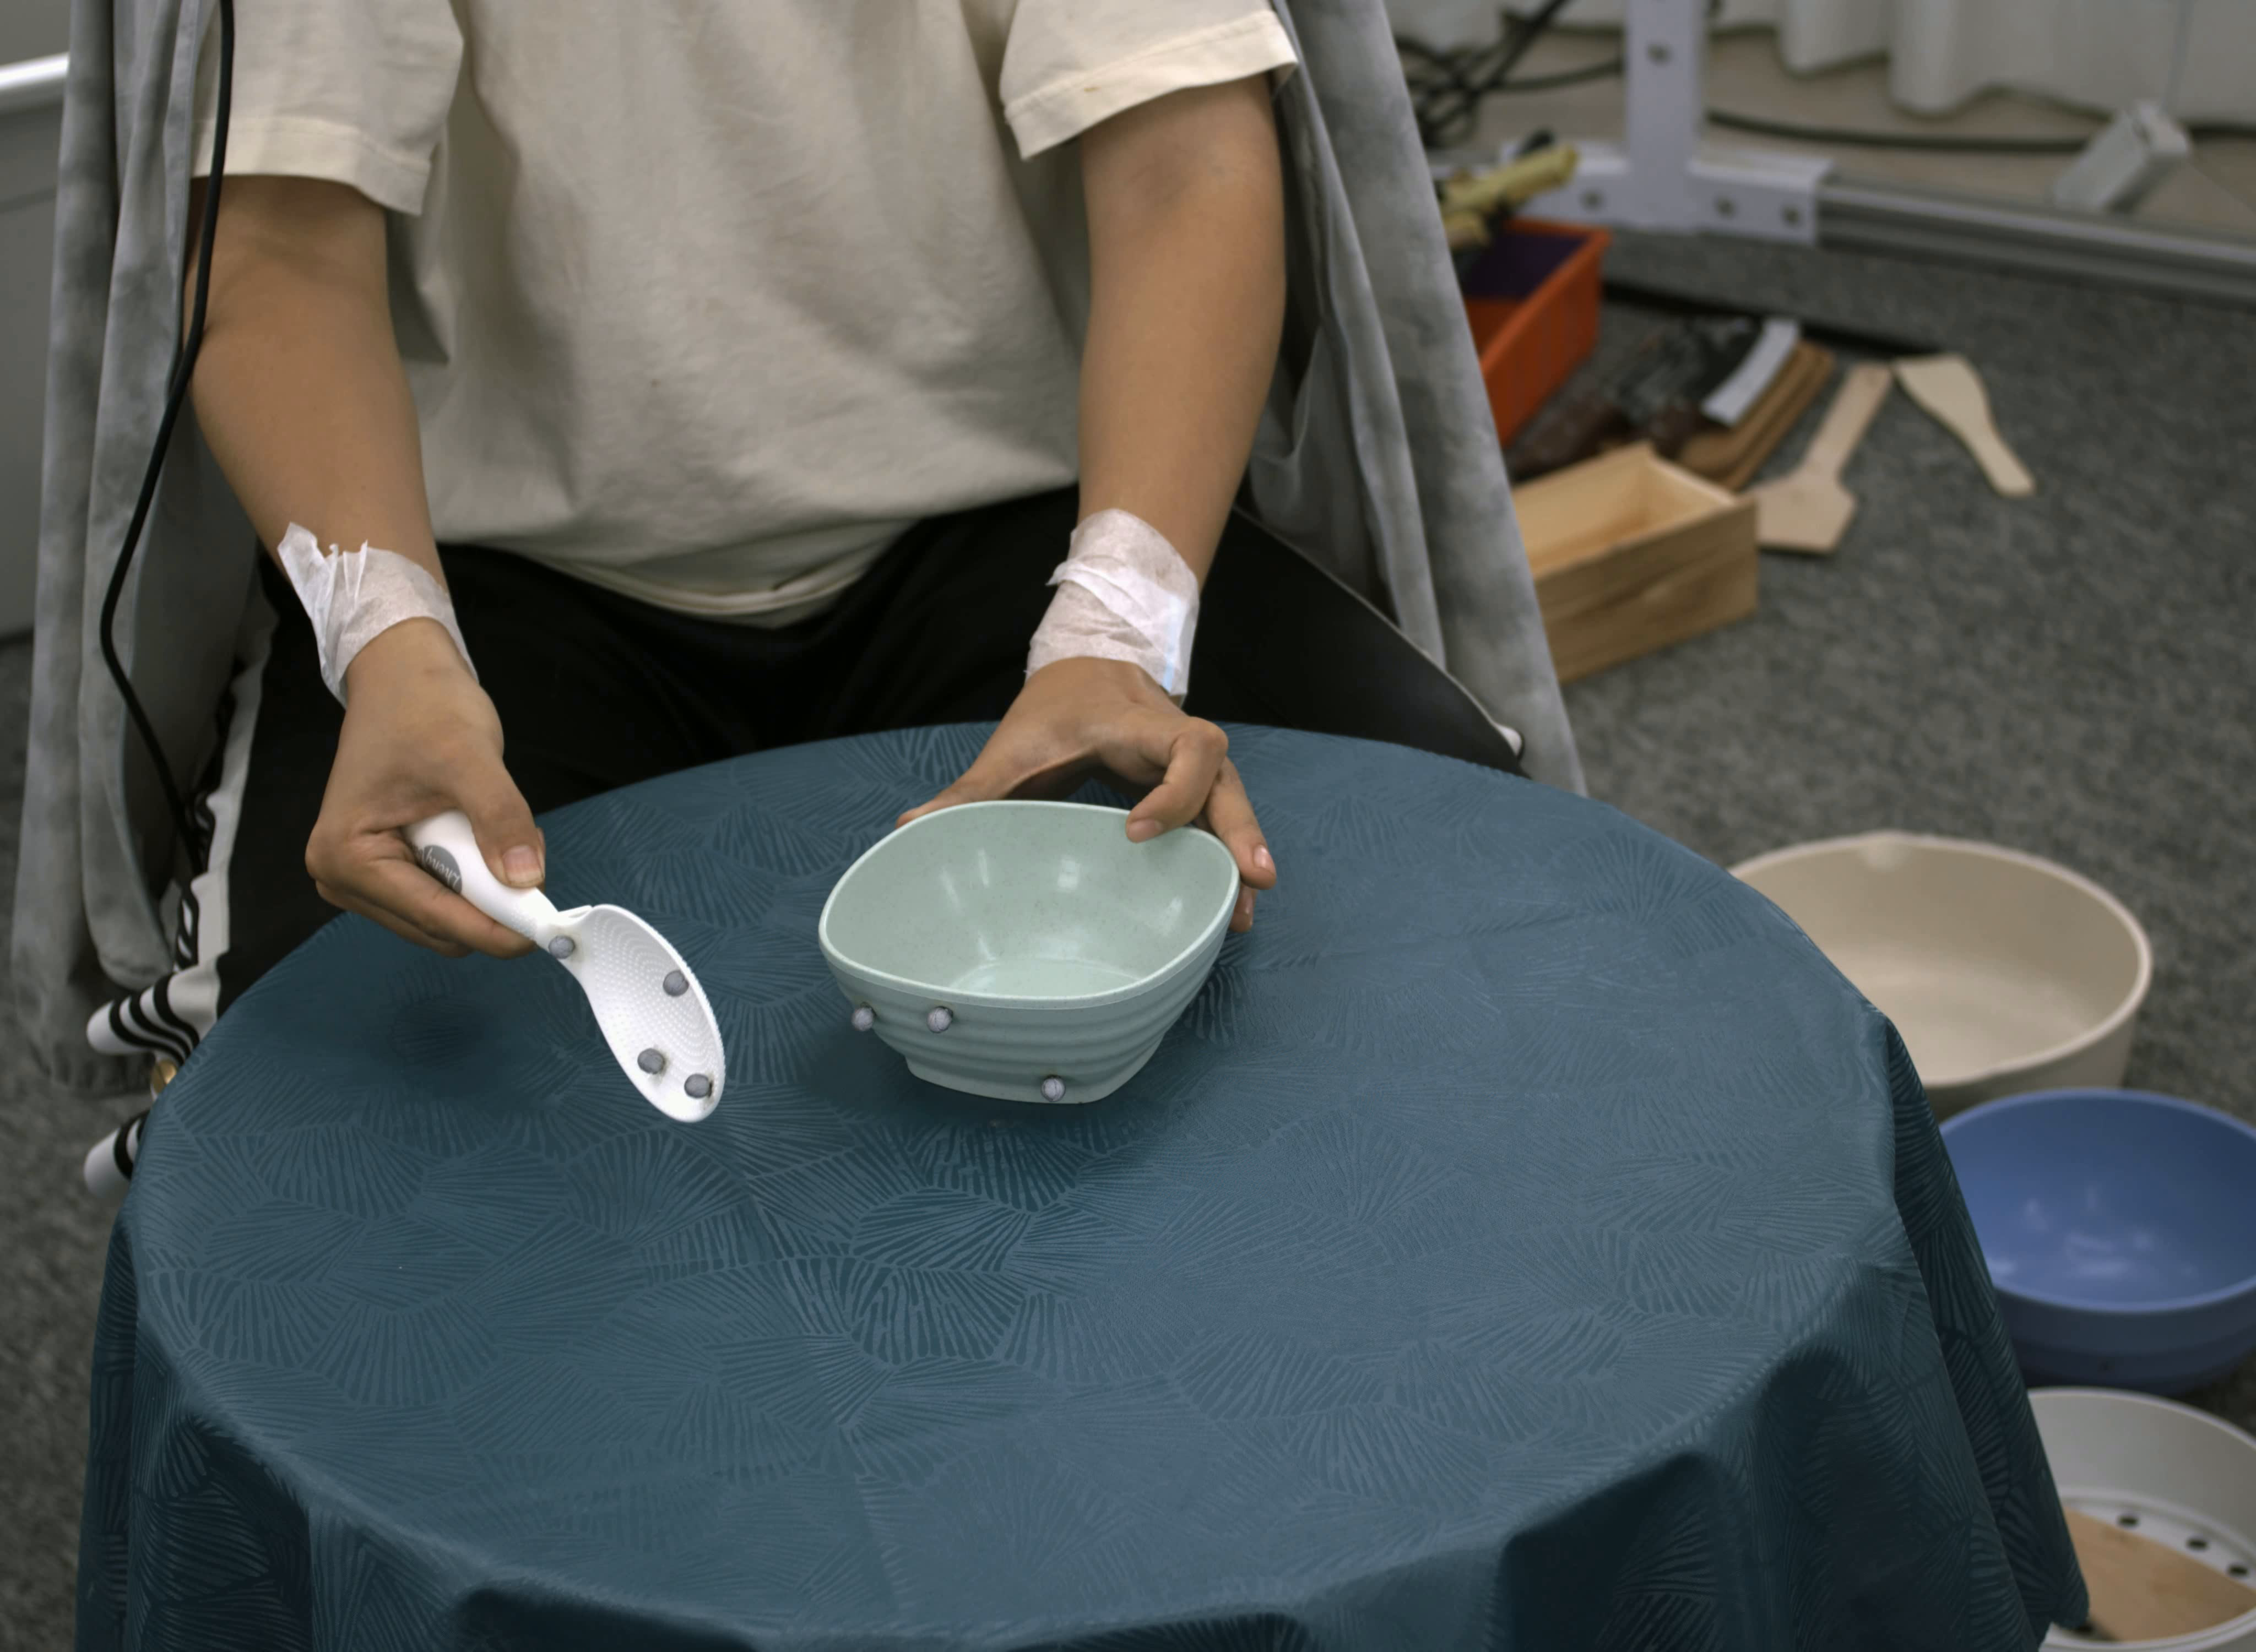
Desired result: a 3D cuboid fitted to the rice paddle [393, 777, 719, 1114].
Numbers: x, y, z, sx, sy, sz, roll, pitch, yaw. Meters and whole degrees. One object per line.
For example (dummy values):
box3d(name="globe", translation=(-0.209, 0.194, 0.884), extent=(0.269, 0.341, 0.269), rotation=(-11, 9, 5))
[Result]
box3d(name="rice paddle", translation=(-0.190, 0.037, 1.890), extent=(0.029, 0.068, 0.206), rotation=(-18, 32, -27))

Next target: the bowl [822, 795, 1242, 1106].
box3d(name="bowl", translation=(-0.031, 0.049, 1.942), extent=(0.150, 0.058, 0.154), rotation=(-4, 29, 2))
